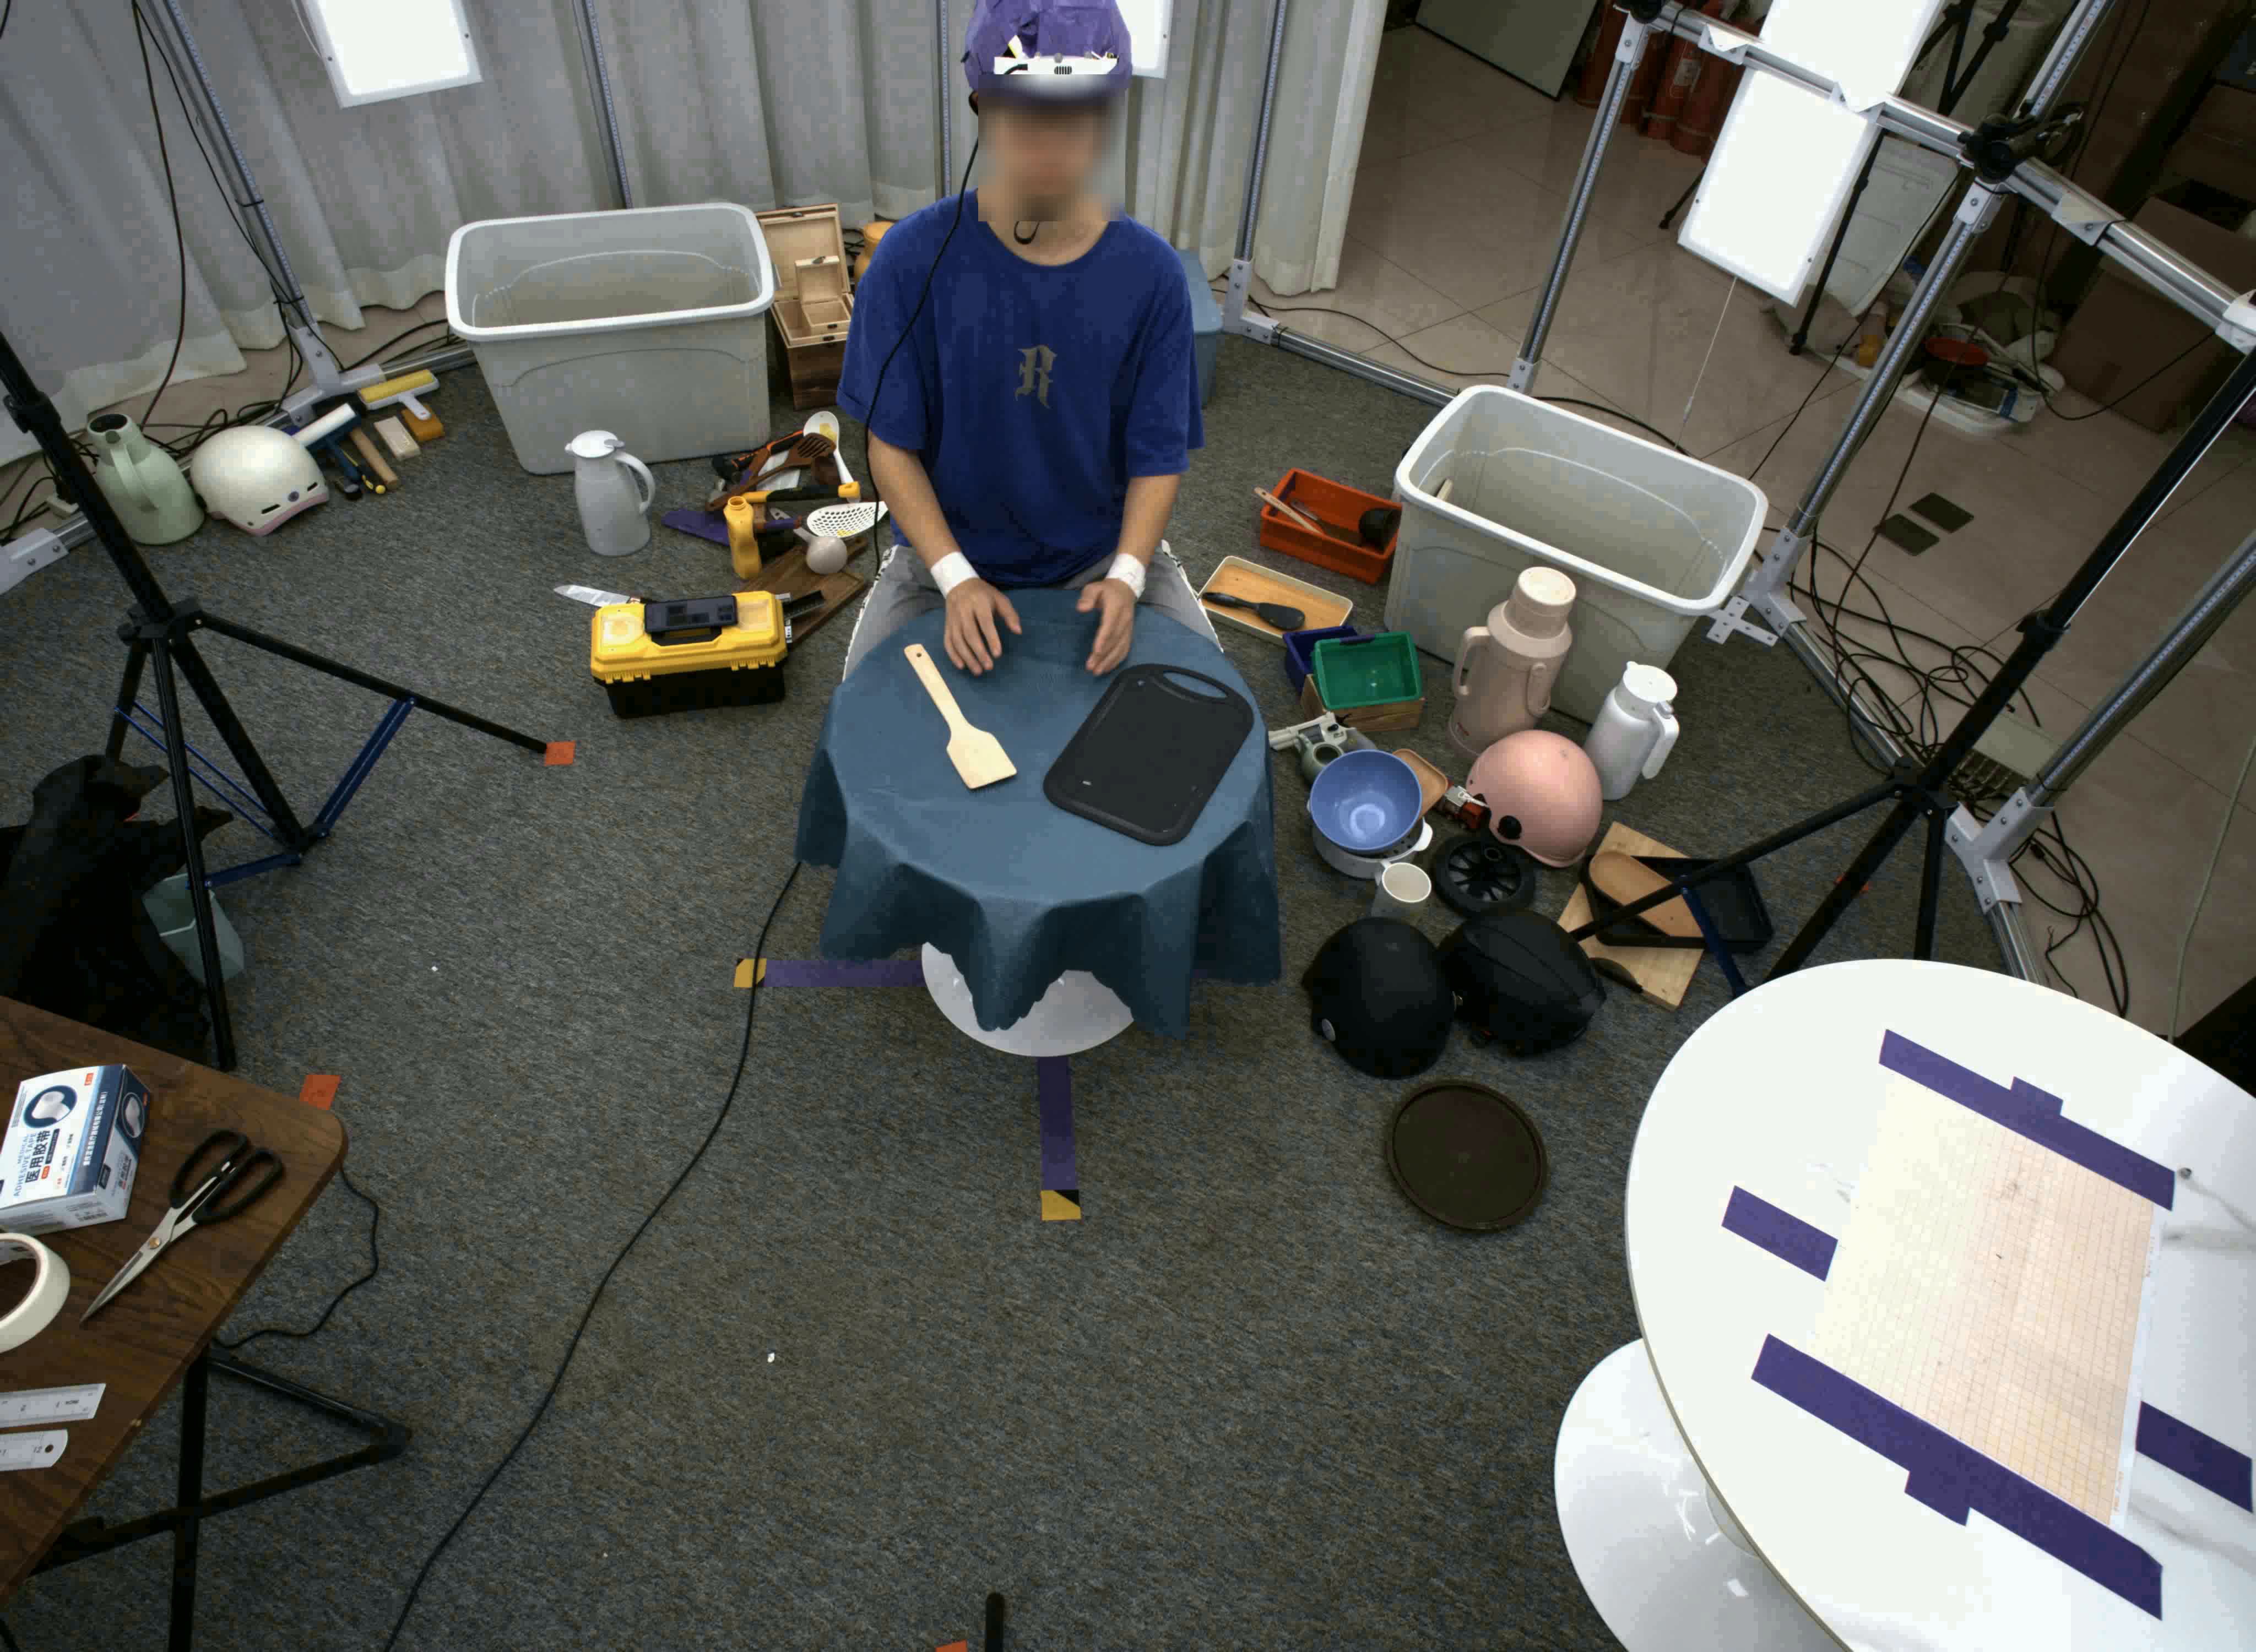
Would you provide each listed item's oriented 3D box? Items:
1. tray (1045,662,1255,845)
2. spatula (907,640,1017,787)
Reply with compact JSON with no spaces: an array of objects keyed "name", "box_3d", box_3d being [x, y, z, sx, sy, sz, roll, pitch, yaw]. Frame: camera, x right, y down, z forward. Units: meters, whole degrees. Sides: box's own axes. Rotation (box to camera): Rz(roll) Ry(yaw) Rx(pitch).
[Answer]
[{"name":"tray","box_3d":[0.038,-0.115,1.770,0.212,0.009,0.331,23,52,15]},{"name":"spatula","box_3d":[-0.245,-0.163,1.792,0.072,0.010,0.299,-21,54,-18]}]
